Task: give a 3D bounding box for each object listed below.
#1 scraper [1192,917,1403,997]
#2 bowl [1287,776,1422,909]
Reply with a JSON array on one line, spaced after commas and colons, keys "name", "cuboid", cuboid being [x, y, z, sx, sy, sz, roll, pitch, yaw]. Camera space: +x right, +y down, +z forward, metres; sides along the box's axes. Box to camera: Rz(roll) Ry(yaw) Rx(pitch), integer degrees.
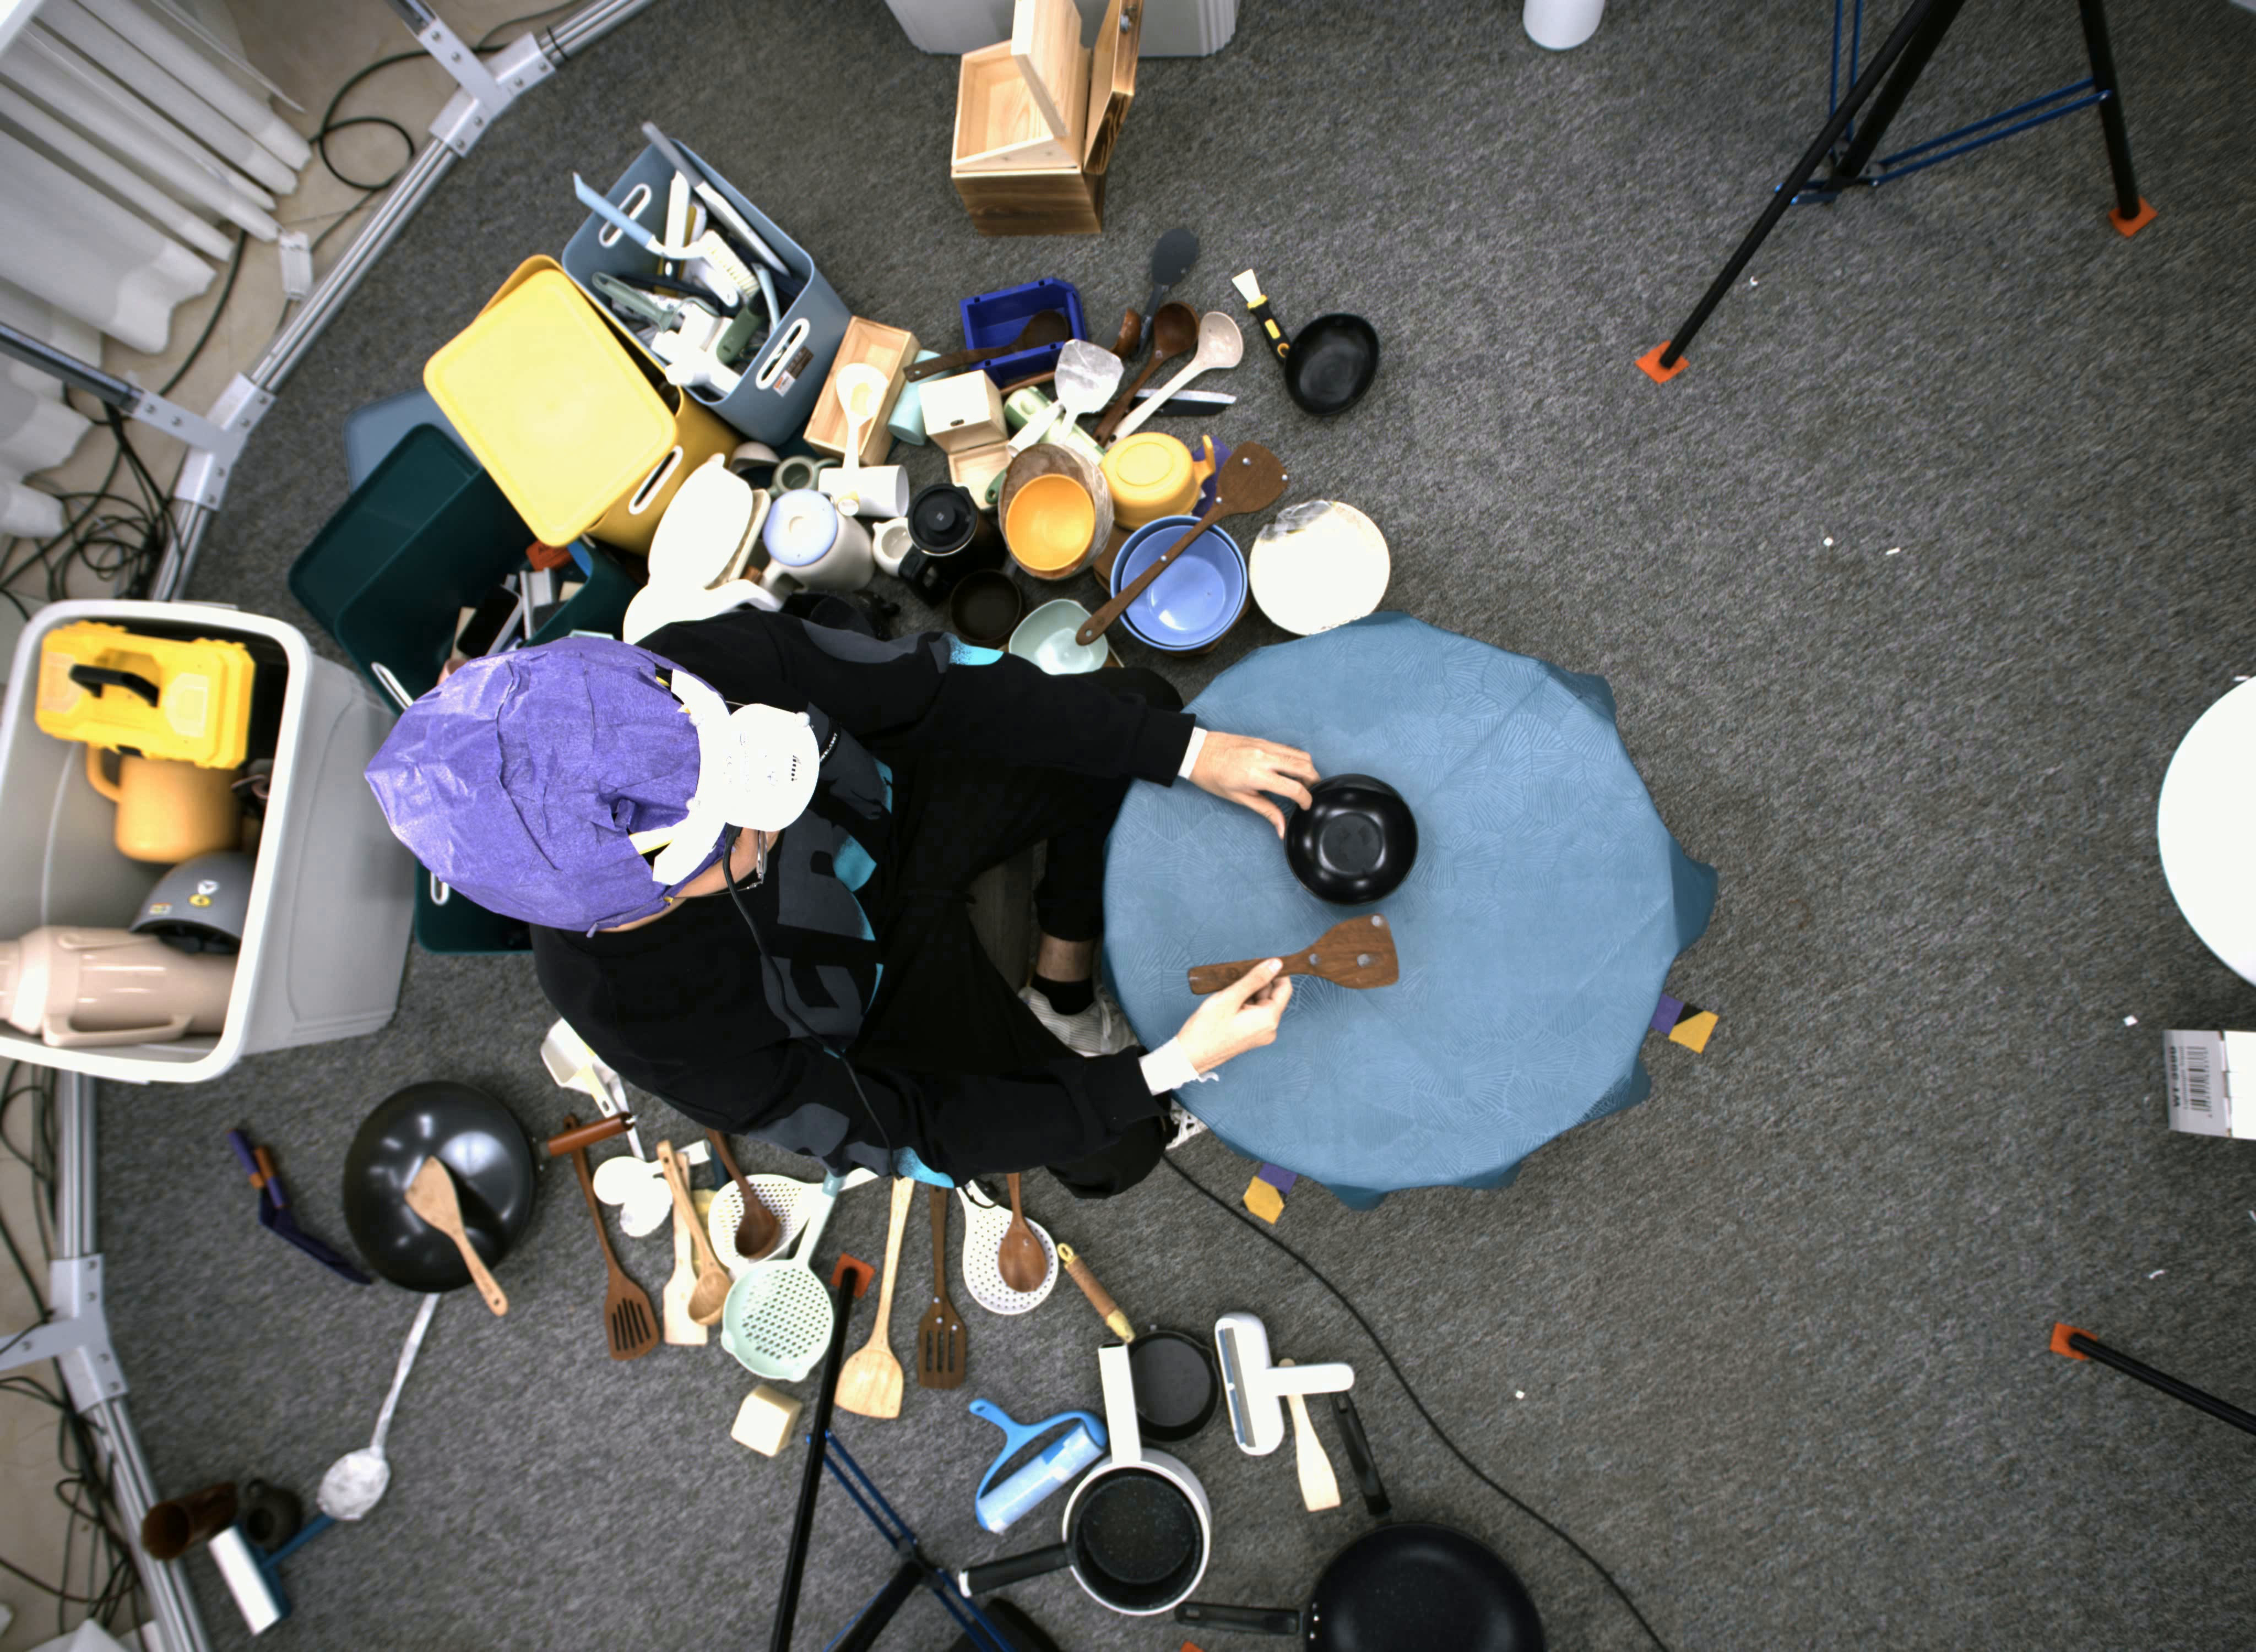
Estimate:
[{"name": "scraper", "cuboid": [0.166, 0.139, 1.365, 0.211, 0.011, 0.075, -8, 77, -7]}, {"name": "bowl", "cuboid": [0.237, 0.017, 1.449, 0.140, 0.050, 0.139, 0, 88, 8]}]
